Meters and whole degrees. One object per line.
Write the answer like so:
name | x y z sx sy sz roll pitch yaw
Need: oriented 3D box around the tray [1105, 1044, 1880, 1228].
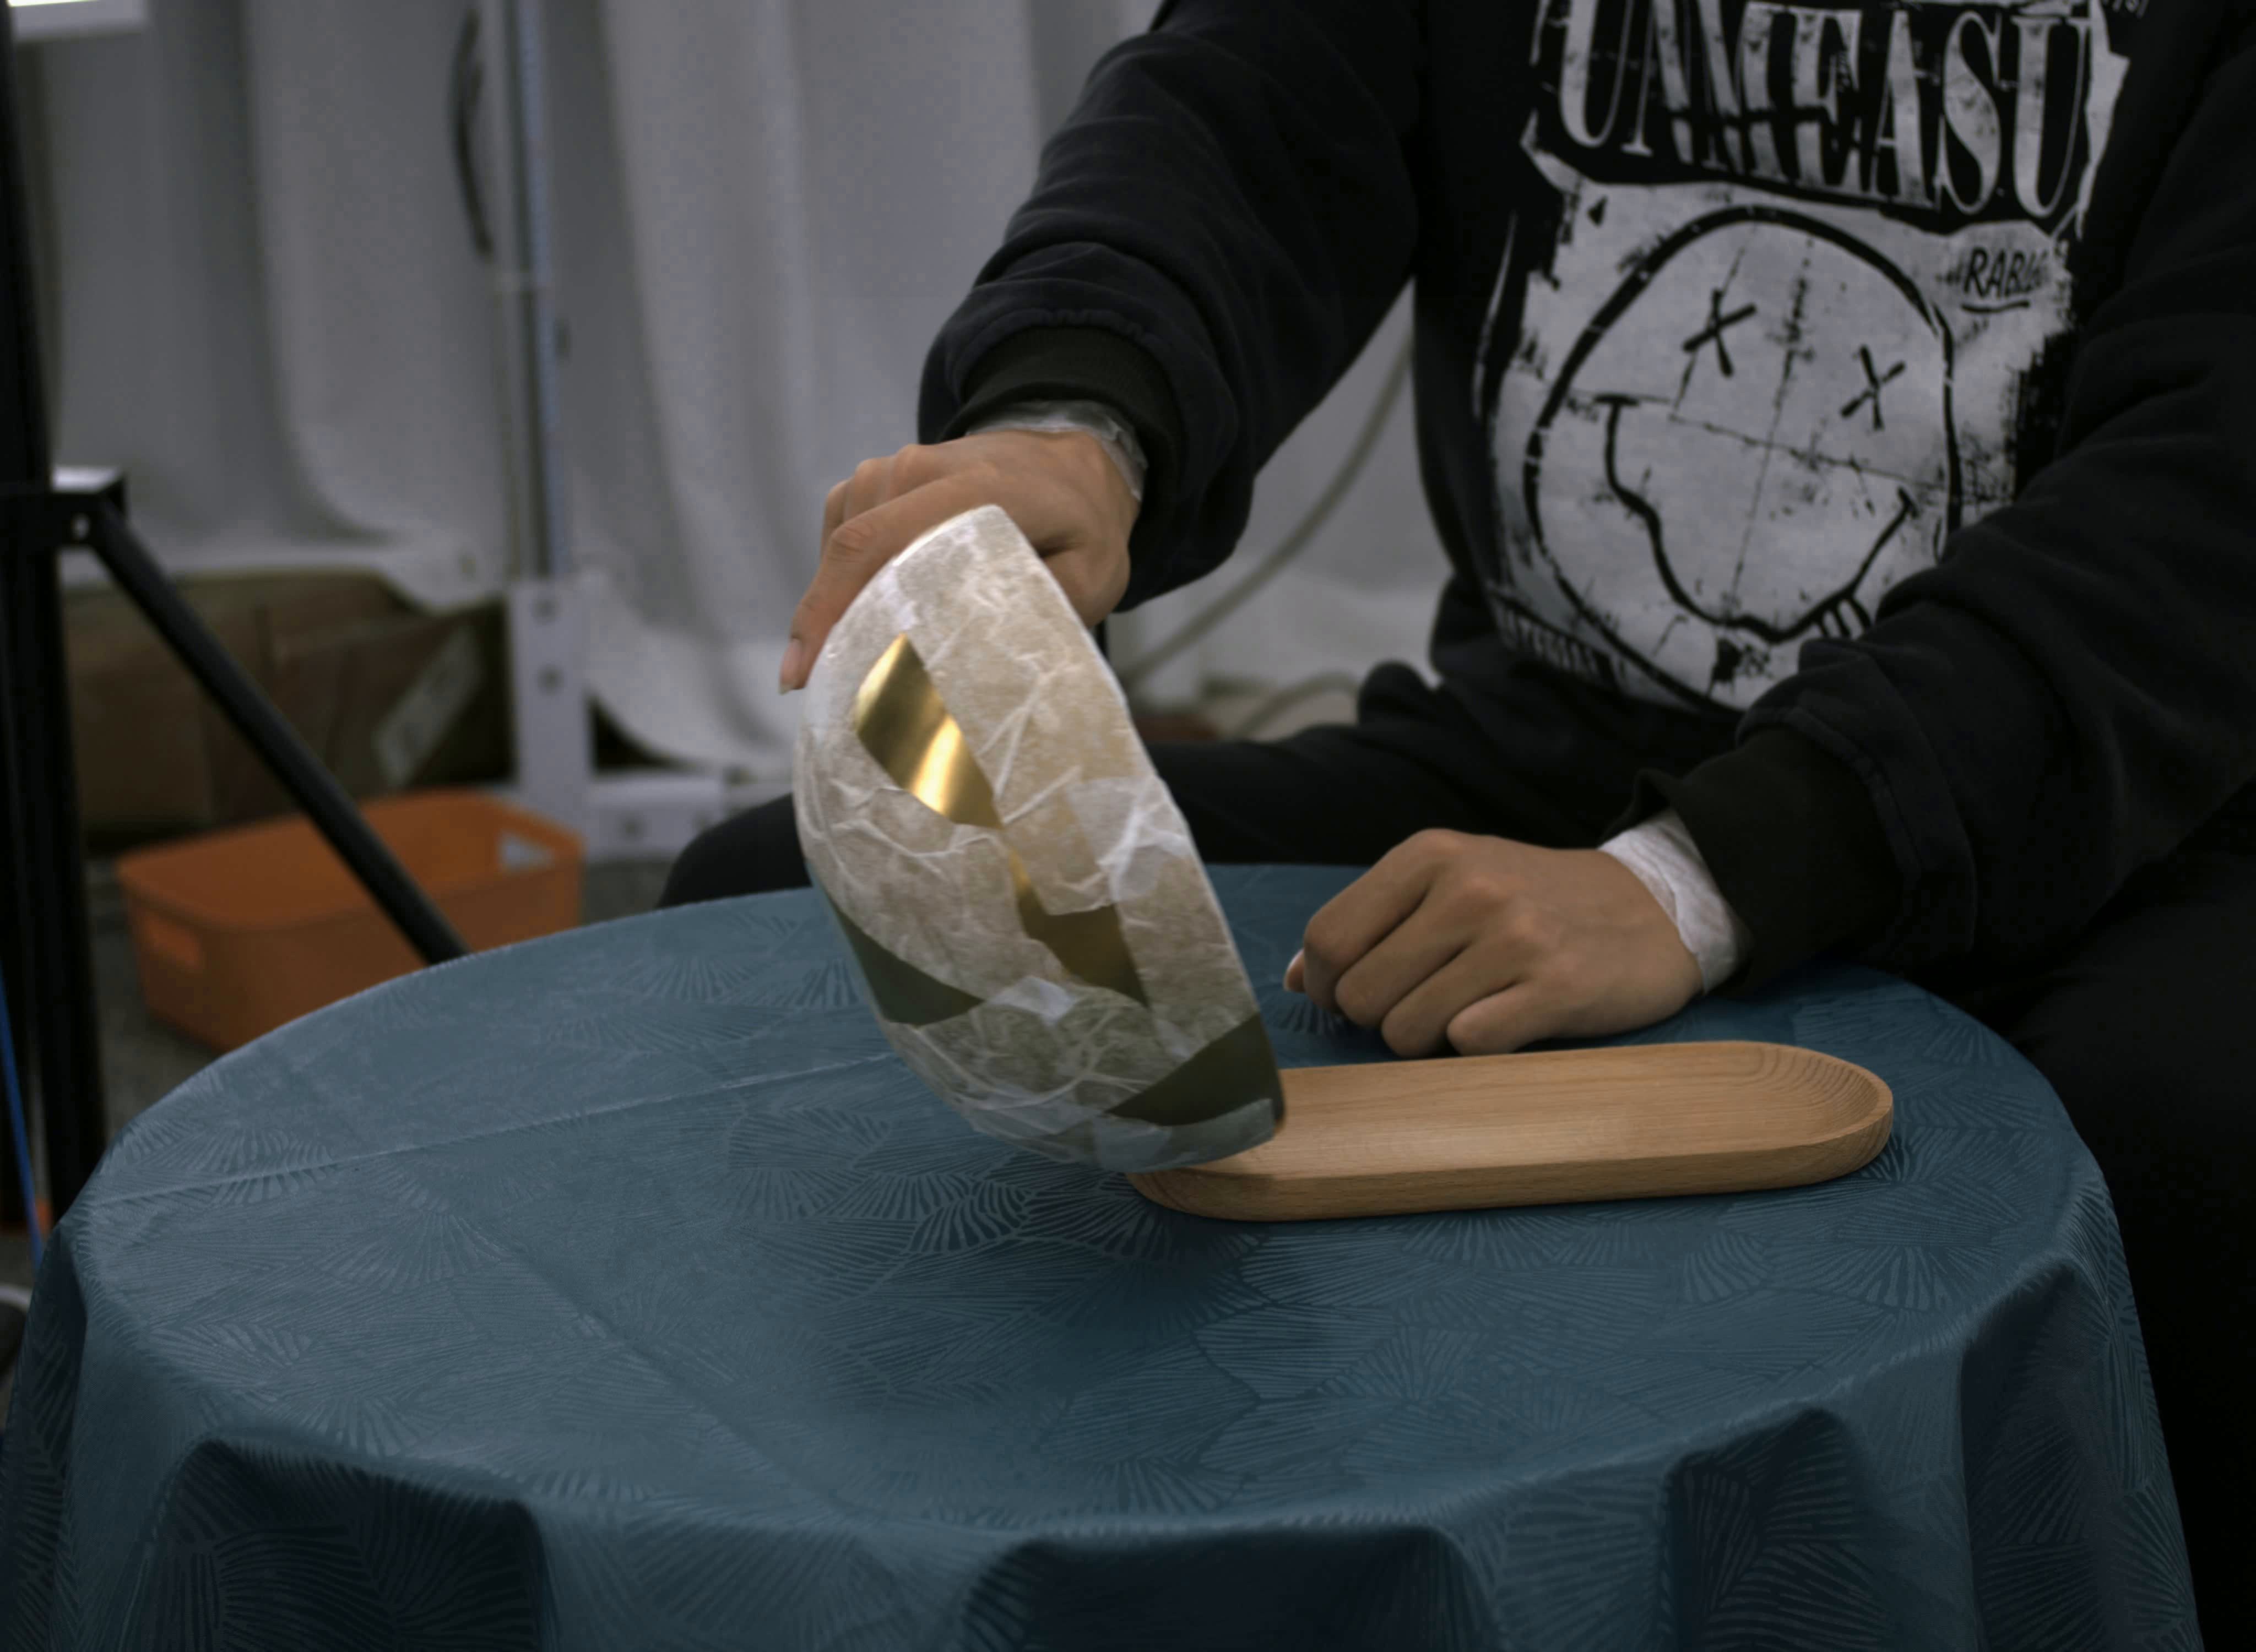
tray | 0.108 0.092 1.568 0.229 0.020 0.102 -5 14 -3

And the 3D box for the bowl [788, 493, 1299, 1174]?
bowl | -0.038 0.019 1.507 0.094 0.213 0.217 -26 19 -6
